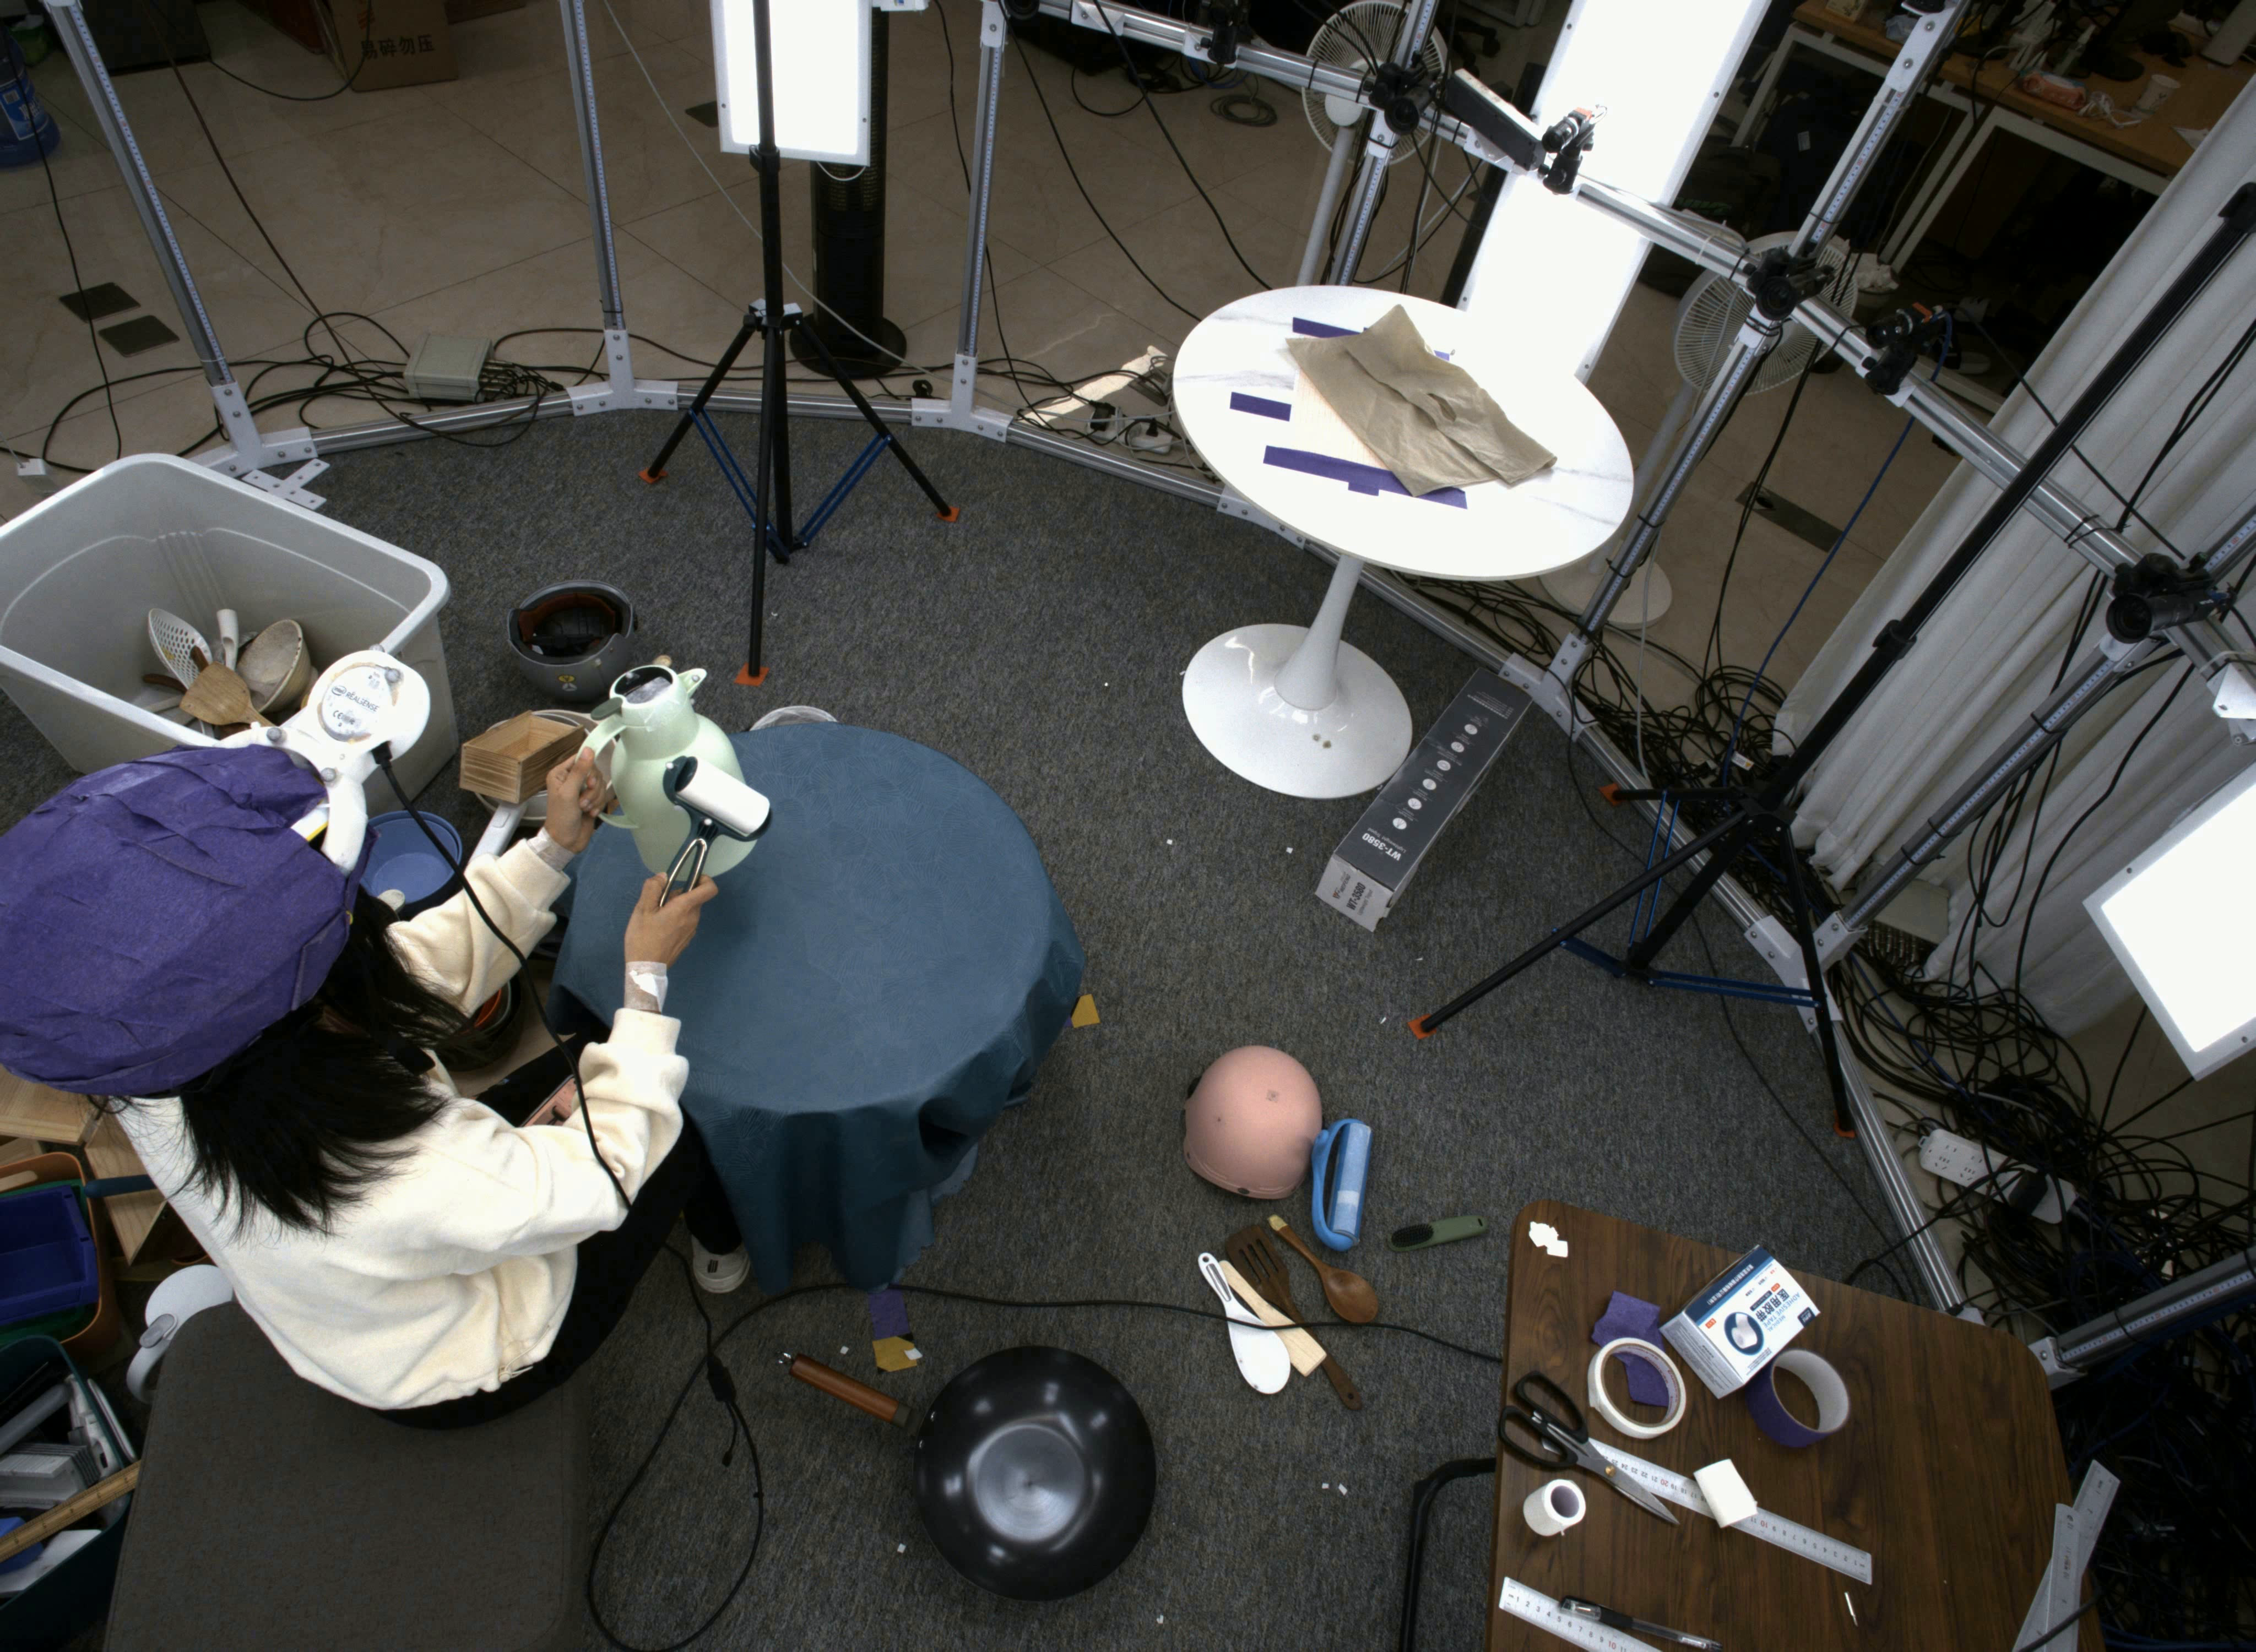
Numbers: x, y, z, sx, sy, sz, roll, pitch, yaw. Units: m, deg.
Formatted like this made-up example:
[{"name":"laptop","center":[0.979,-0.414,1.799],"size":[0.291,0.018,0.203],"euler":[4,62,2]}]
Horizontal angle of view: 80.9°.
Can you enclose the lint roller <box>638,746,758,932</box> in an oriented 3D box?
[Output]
[{"name":"lint roller","center":[-0.469,0.023,1.356],"size":[0.047,0.139,0.179],"euler":[-5,62,38]}]

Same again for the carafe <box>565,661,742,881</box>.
[{"name":"carafe","center":[-0.548,-0.059,1.455],"size":[0.139,0.265,0.187],"euler":[32,59,27]}]
